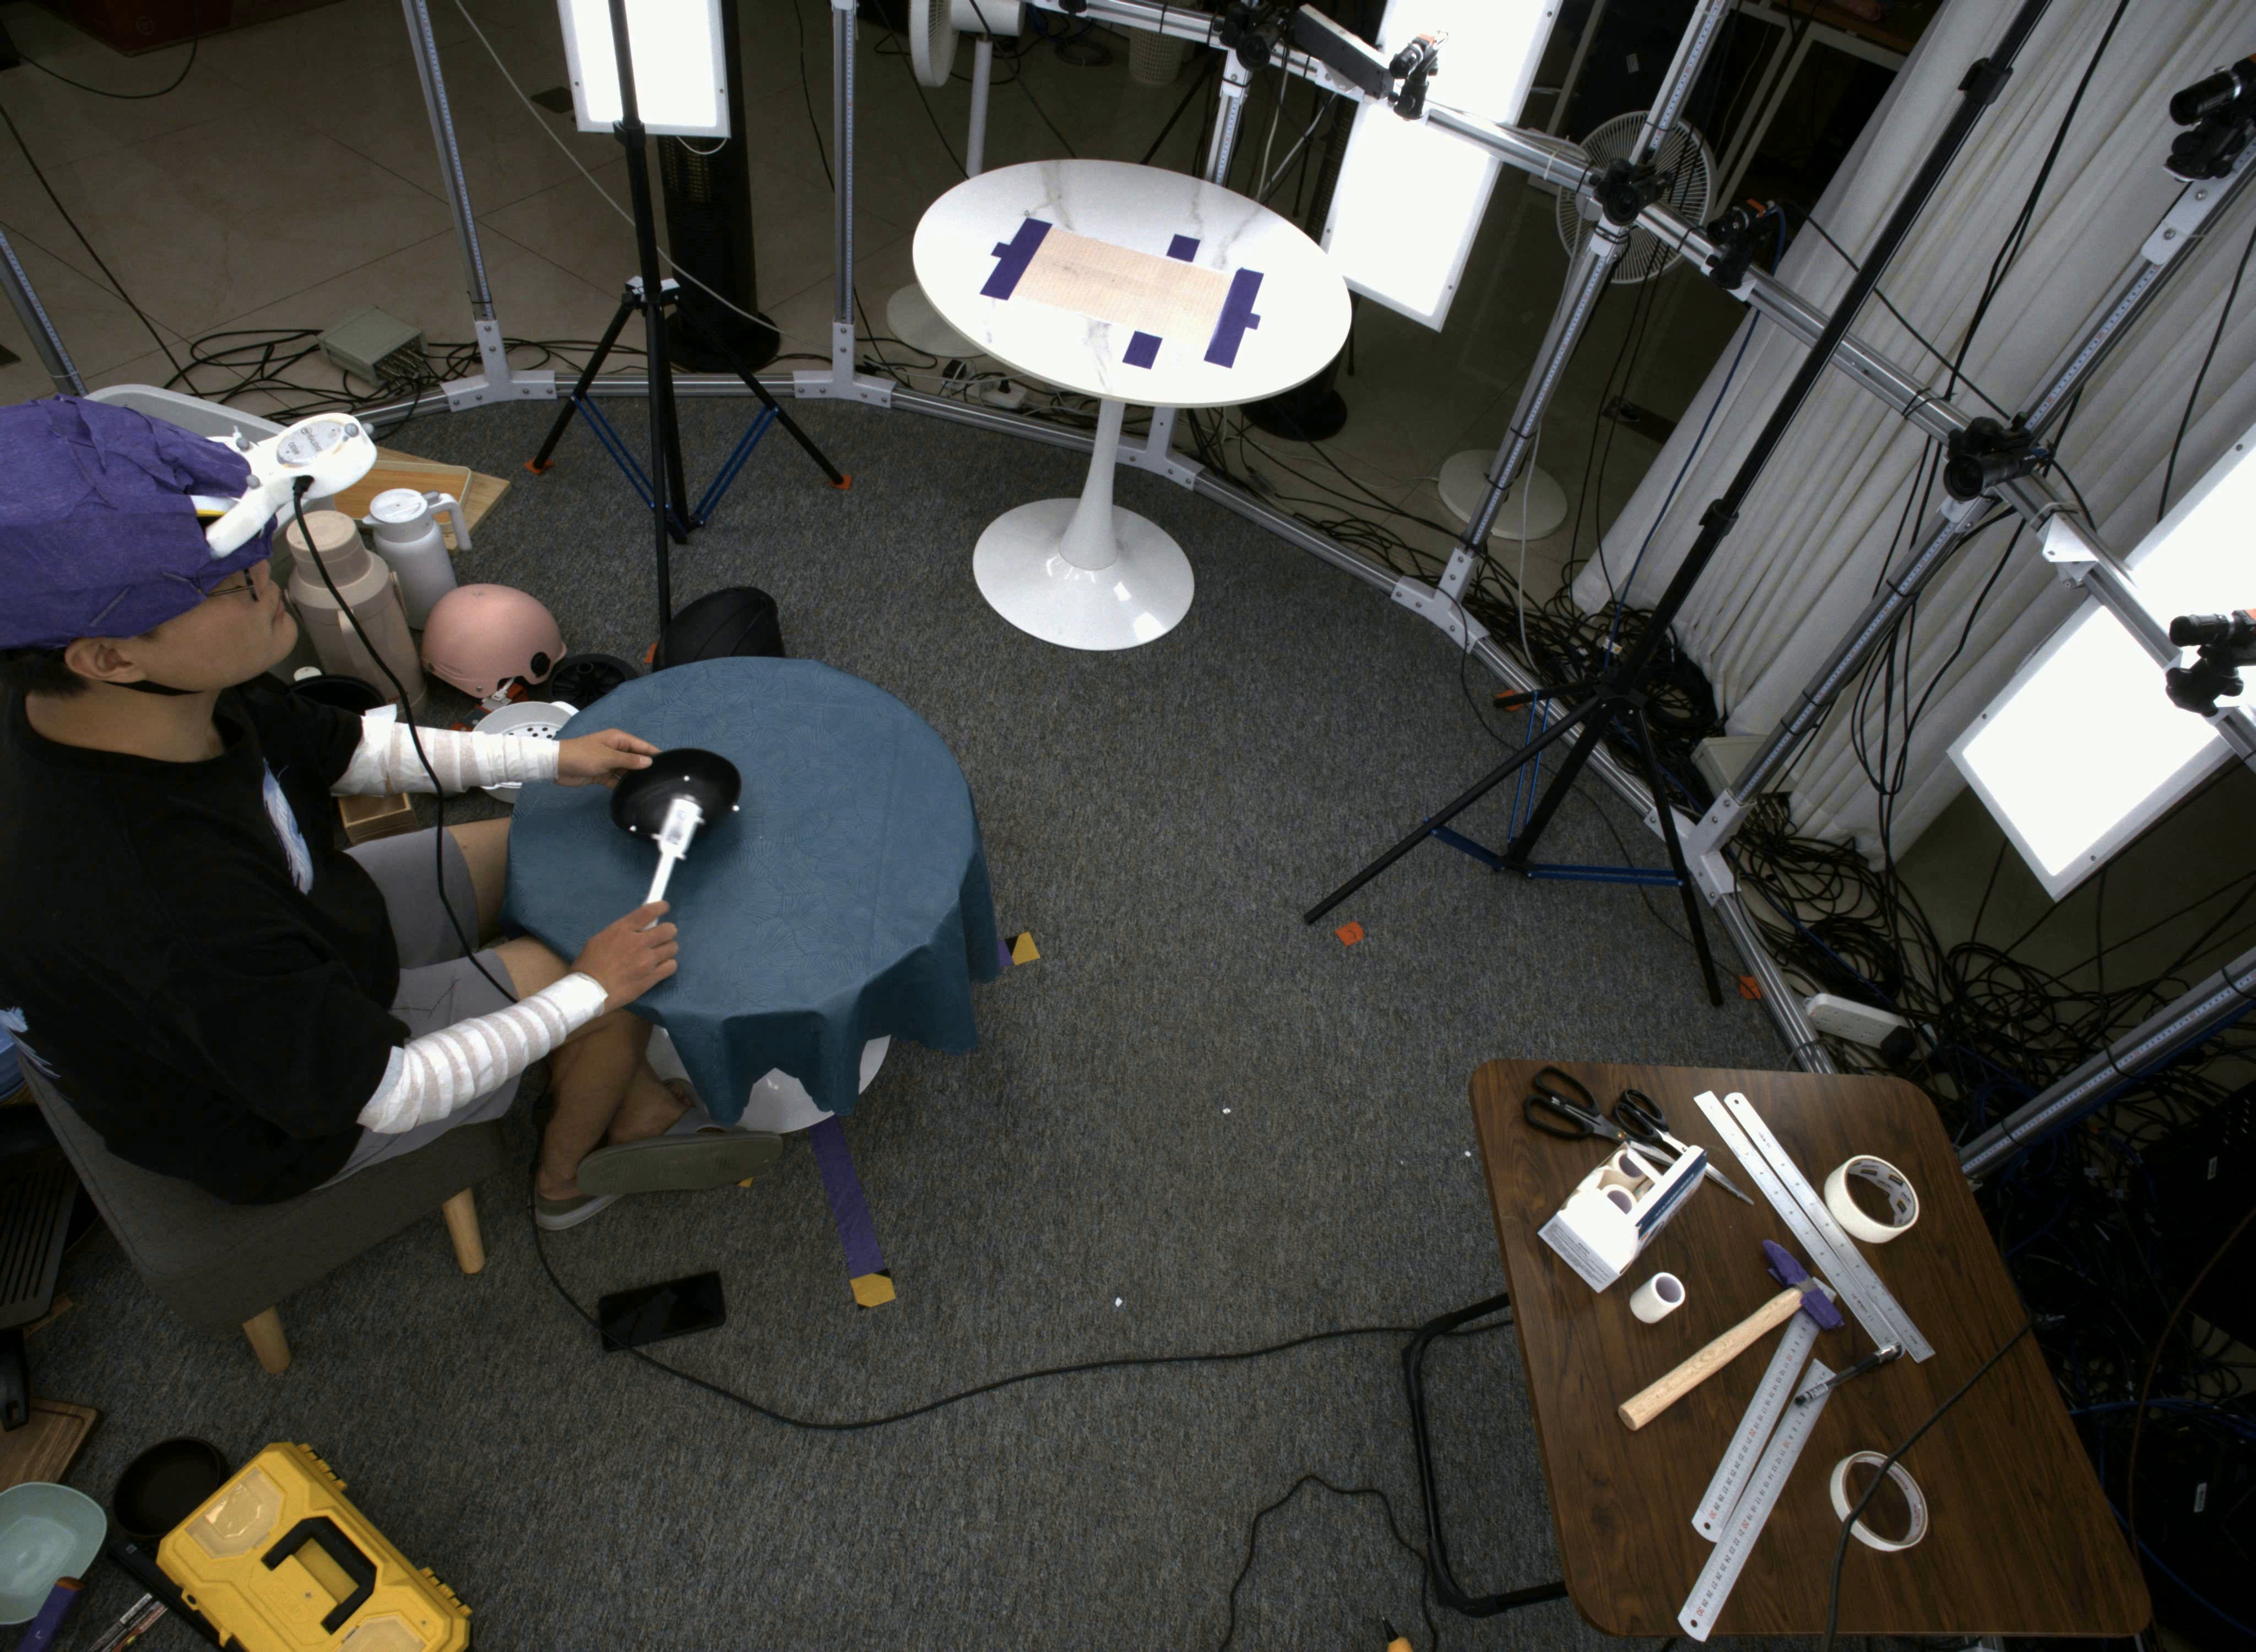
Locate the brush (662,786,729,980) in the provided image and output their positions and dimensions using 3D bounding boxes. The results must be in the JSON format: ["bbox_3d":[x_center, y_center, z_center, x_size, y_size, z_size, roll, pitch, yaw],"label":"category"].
[{"bbox_3d":[-0.538,0.067,1.590,0.035,0.049,0.244,17,77,-26],"label":"brush"}]

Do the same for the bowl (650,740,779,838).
[{"bbox_3d":[-0.539,-0.036,1.691,0.171,0.068,0.134,-23,62,-24],"label":"bowl"}]
